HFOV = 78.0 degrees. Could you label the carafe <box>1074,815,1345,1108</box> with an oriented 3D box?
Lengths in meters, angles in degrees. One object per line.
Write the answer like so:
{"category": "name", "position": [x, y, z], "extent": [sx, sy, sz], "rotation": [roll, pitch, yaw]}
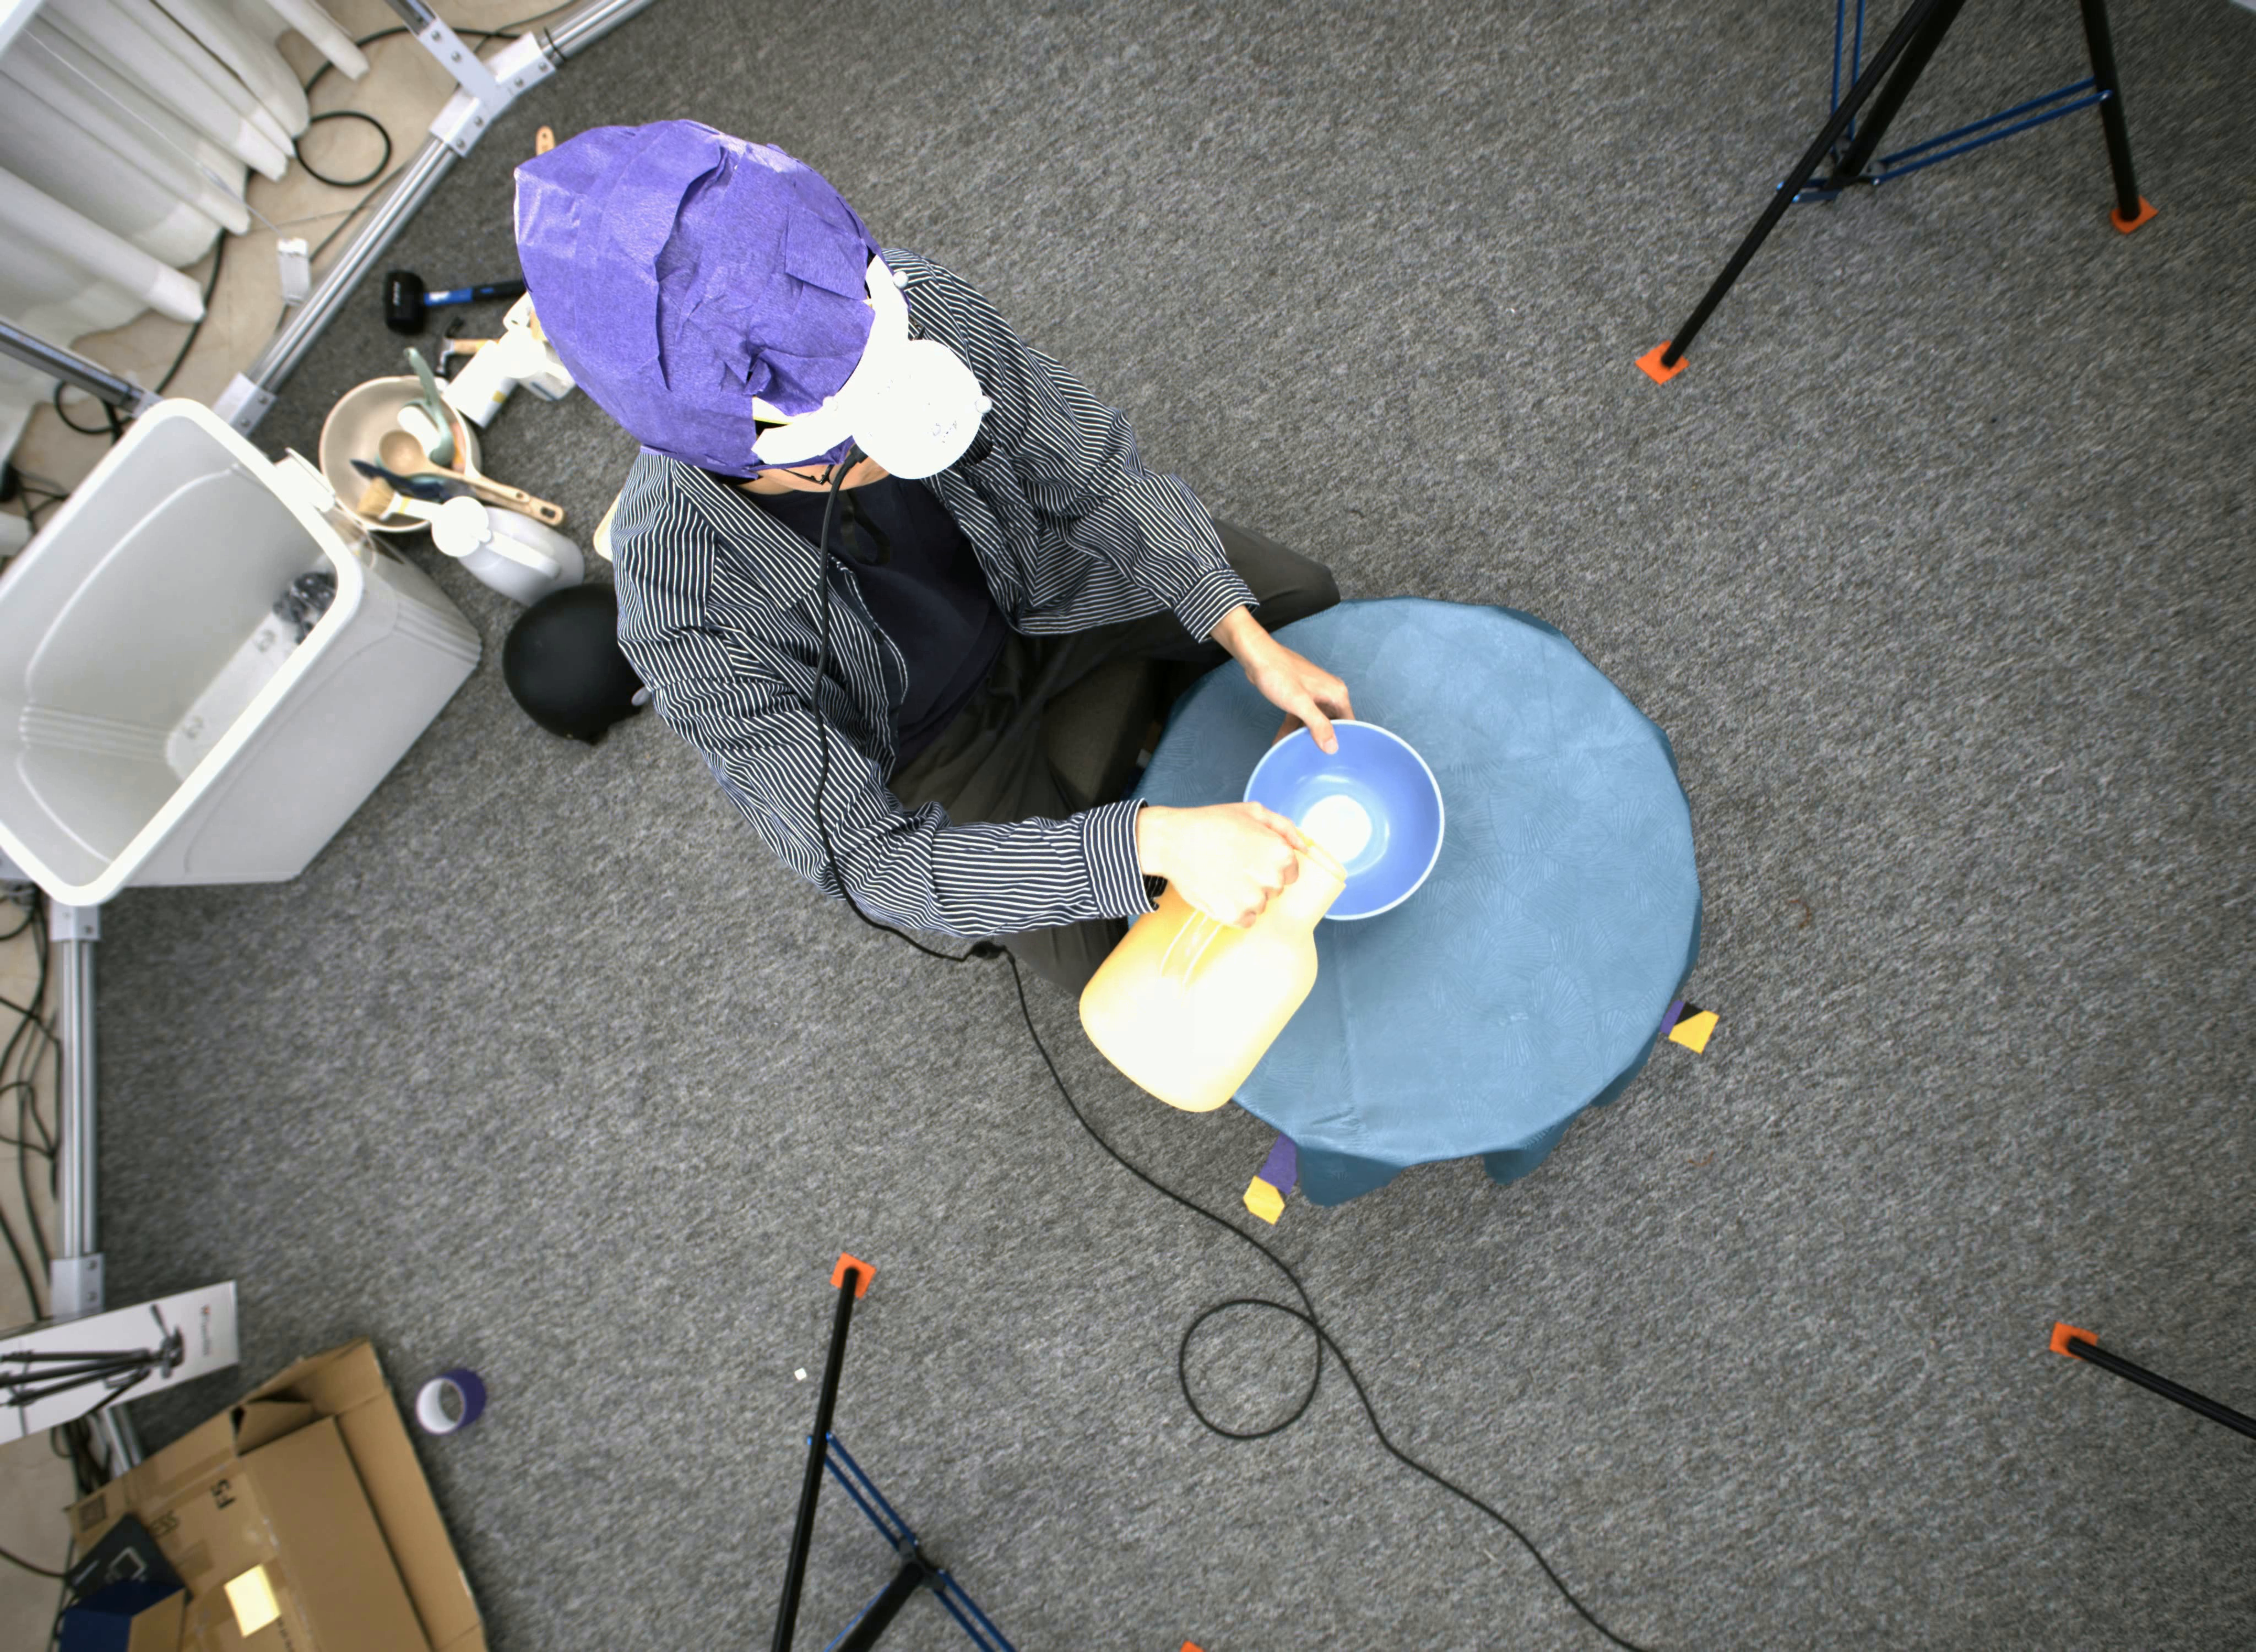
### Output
{"category": "carafe", "position": [0.075, 0.110, 1.218], "extent": [0.162, 0.202, 0.262], "rotation": [39, 97, 18]}

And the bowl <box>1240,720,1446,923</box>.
{"category": "bowl", "position": [0.208, 0.000, 1.367], "extent": [0.197, 0.096, 0.195], "rotation": [0, 85, 4]}
